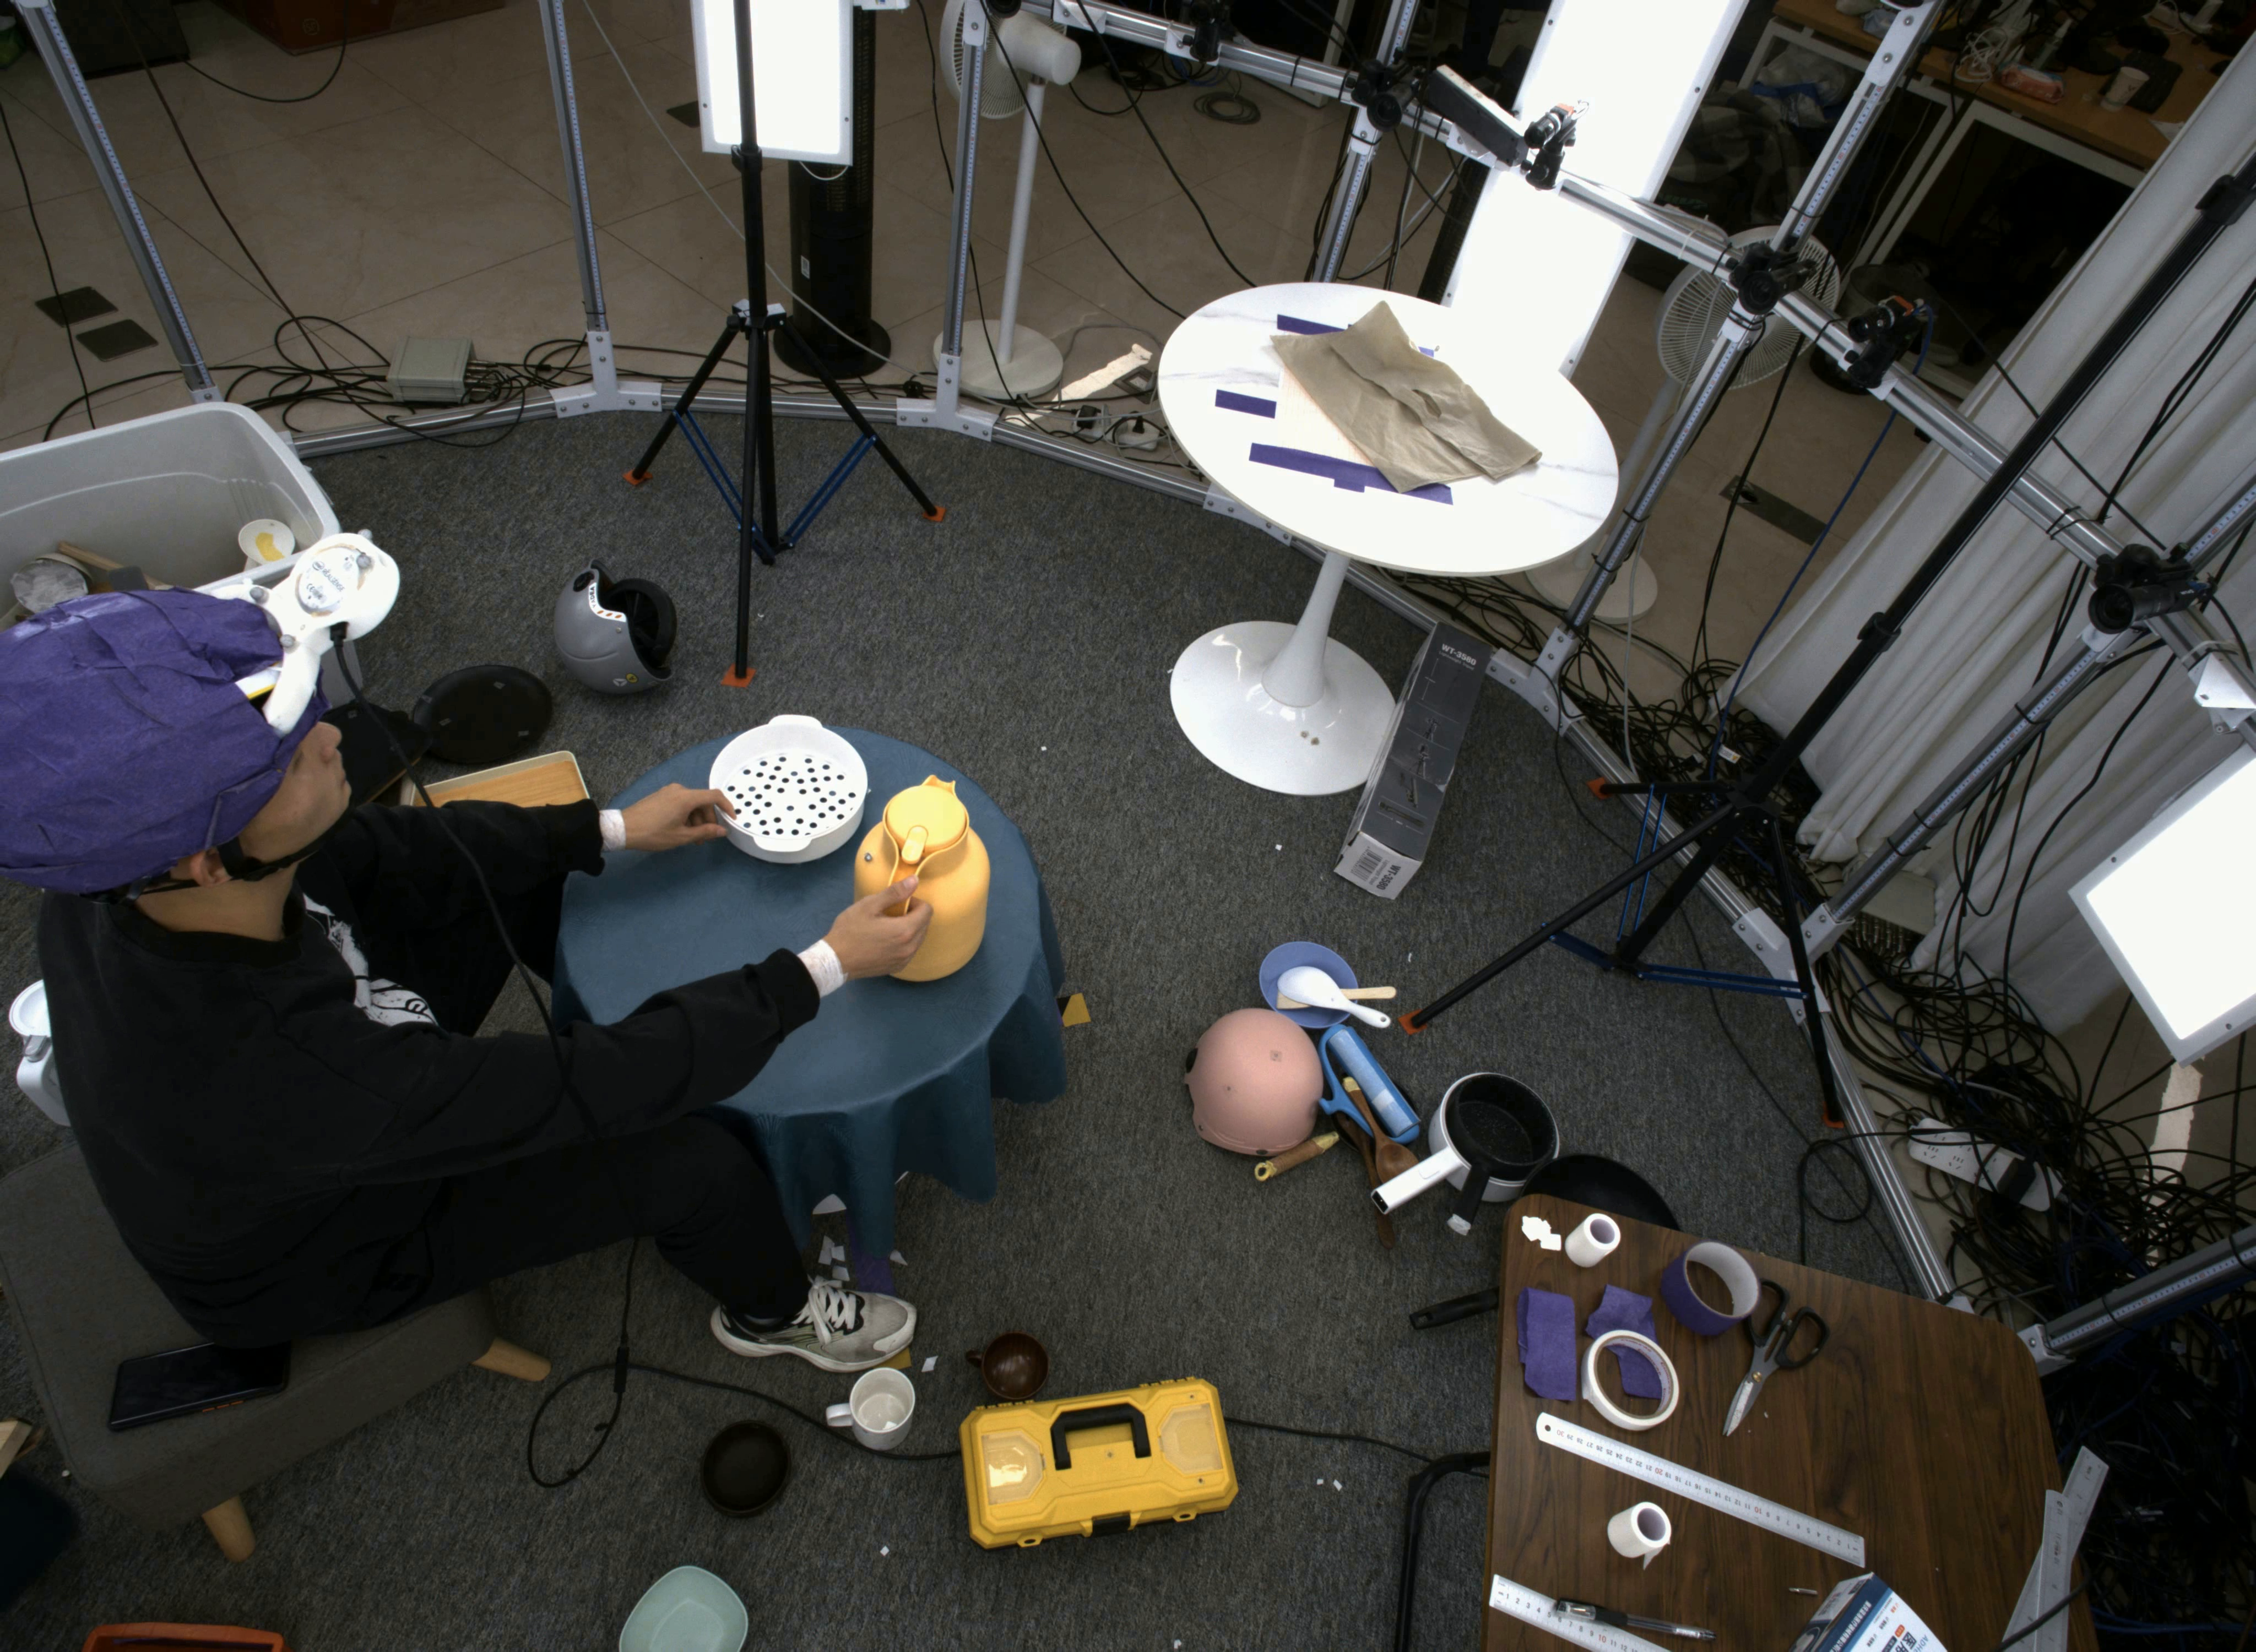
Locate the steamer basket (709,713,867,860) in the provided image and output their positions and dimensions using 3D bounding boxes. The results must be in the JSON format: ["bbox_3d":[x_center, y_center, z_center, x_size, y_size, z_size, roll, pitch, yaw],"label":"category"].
[{"bbox_3d":[-0.446,-0.047,1.707,0.202,0.071,0.225,2,51,-12],"label":"steamer basket"}]

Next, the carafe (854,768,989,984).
[{"bbox_3d":[-0.252,0.072,1.542,0.161,0.267,0.200,15,49,3],"label":"carafe"}]
